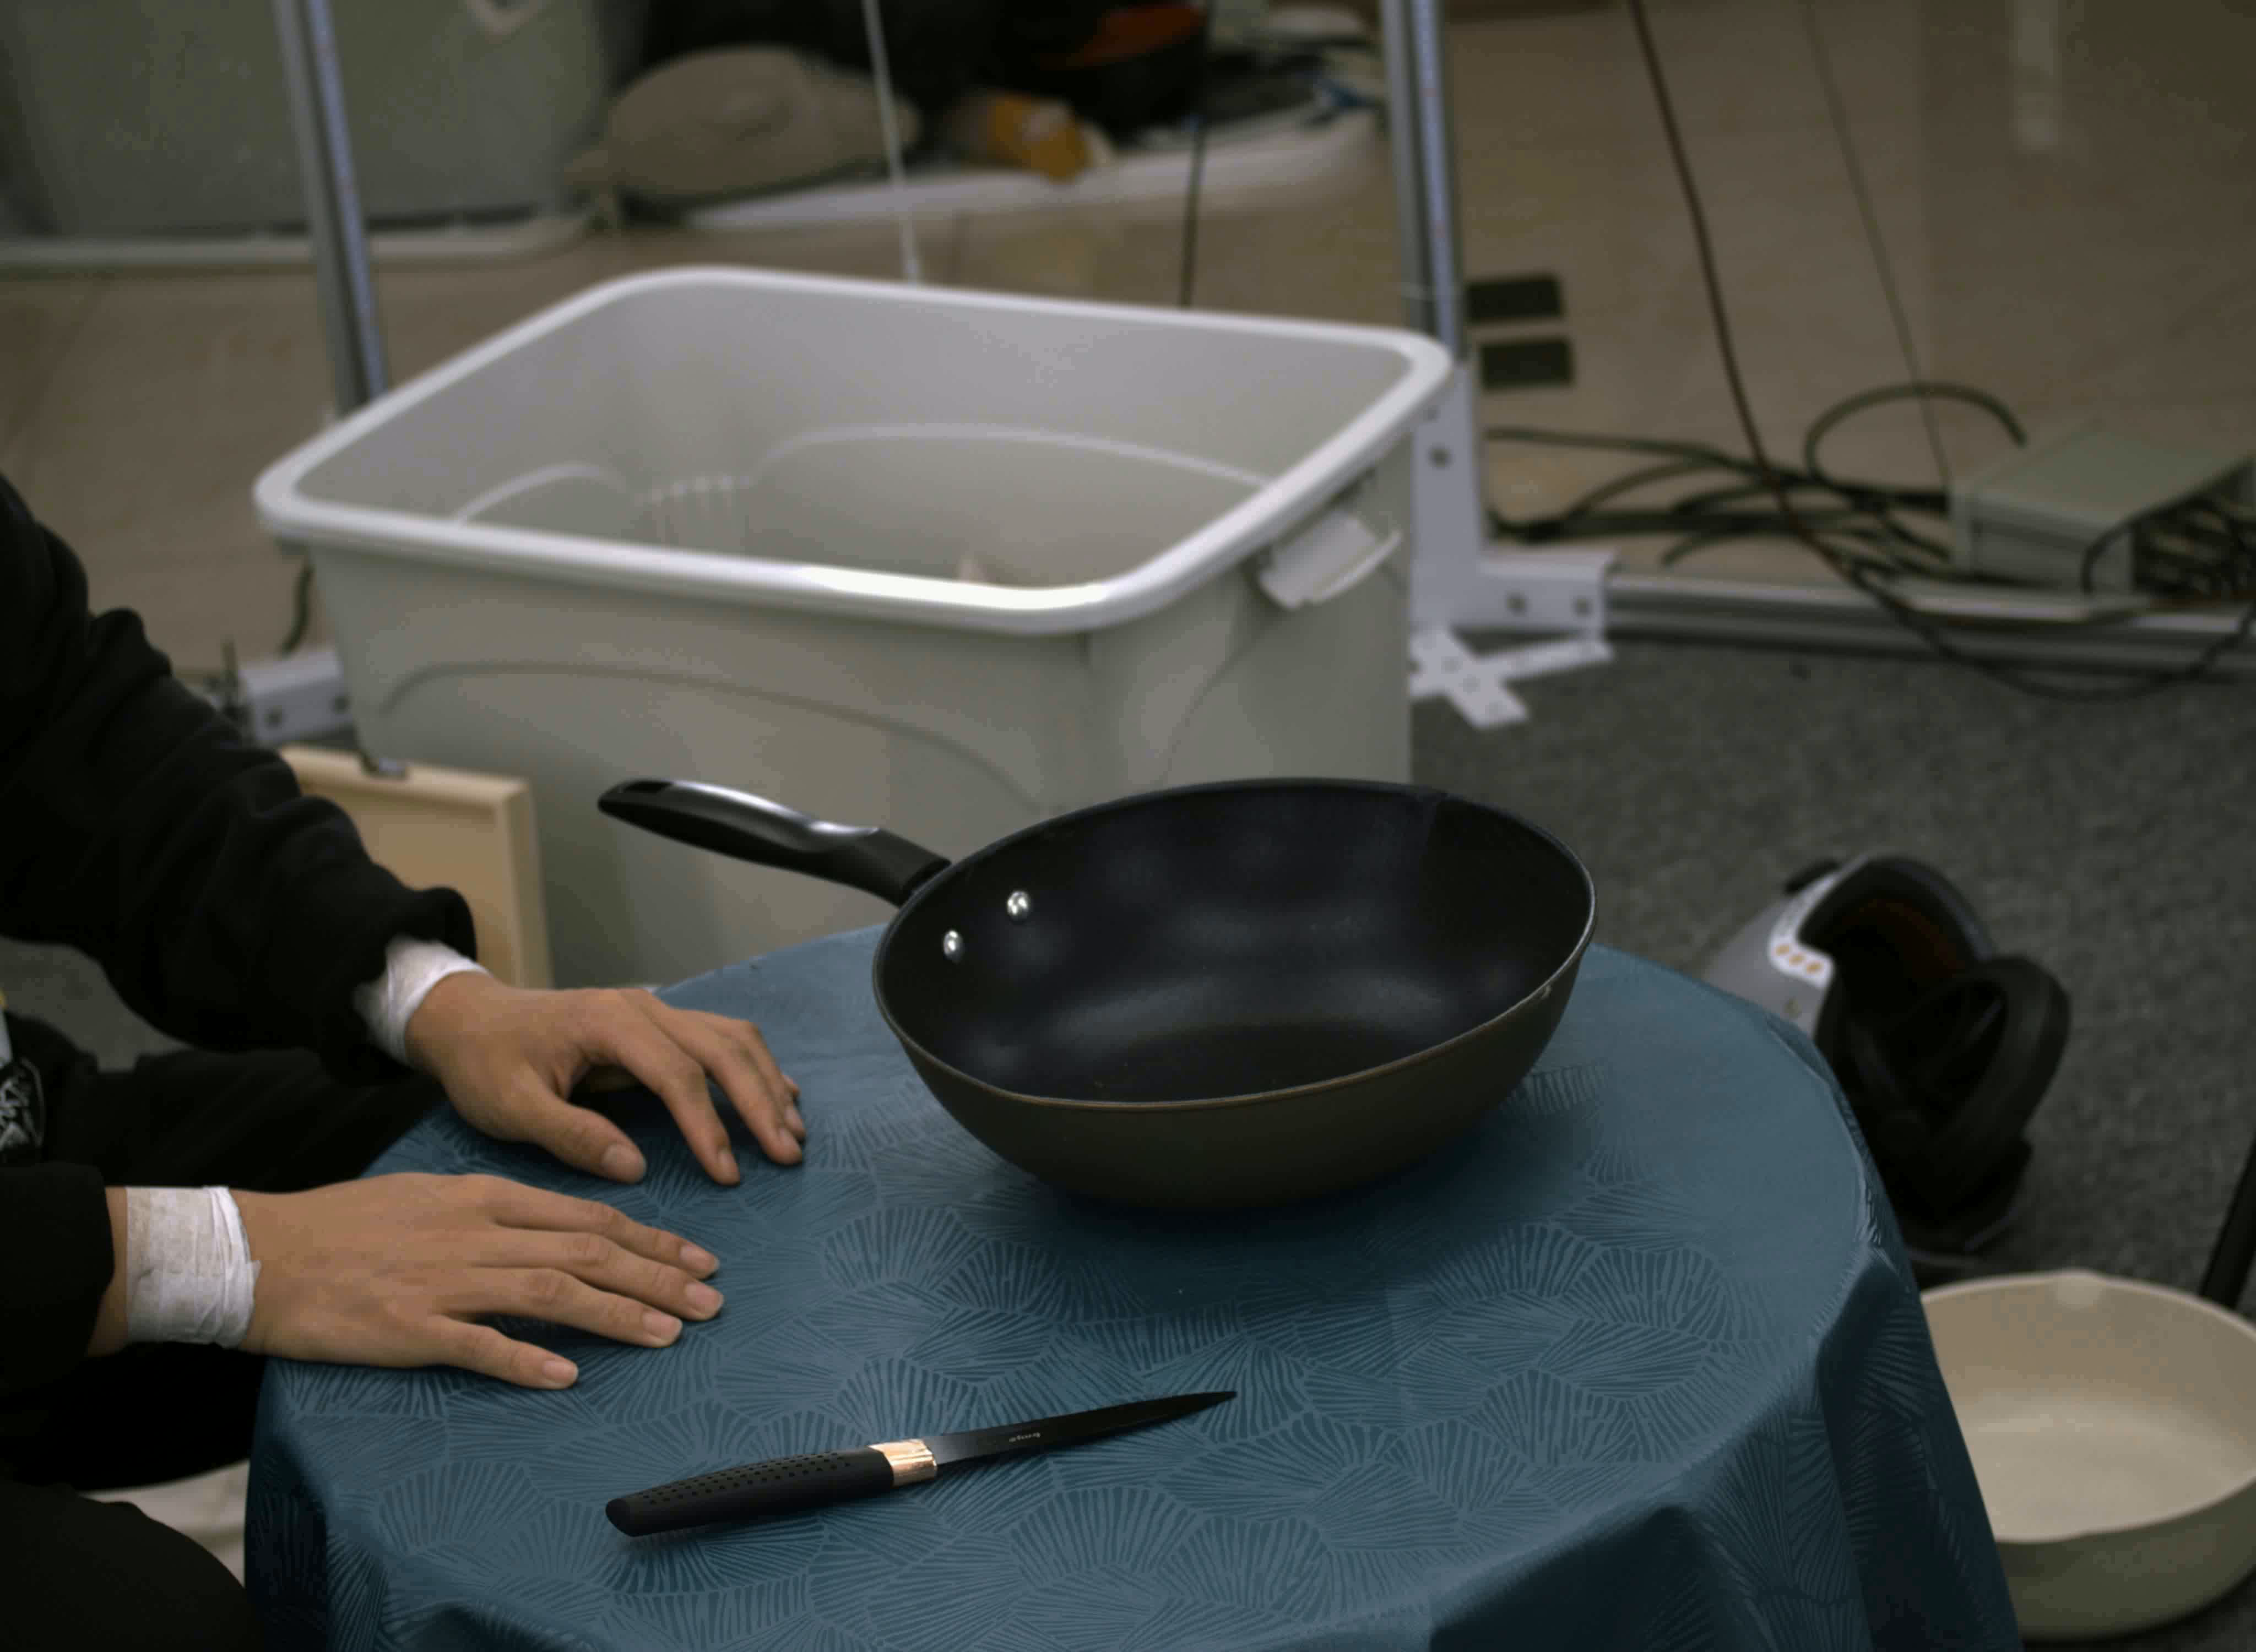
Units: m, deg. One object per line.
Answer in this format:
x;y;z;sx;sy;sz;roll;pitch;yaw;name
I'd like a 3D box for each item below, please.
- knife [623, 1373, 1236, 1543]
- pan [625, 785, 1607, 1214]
-0.068;0.219;1.985;0.225;0.017;0.026;-12;13;-13;knife
-0.025;0.061;2.229;0.460;0.088;0.285;12;31;37;pan
